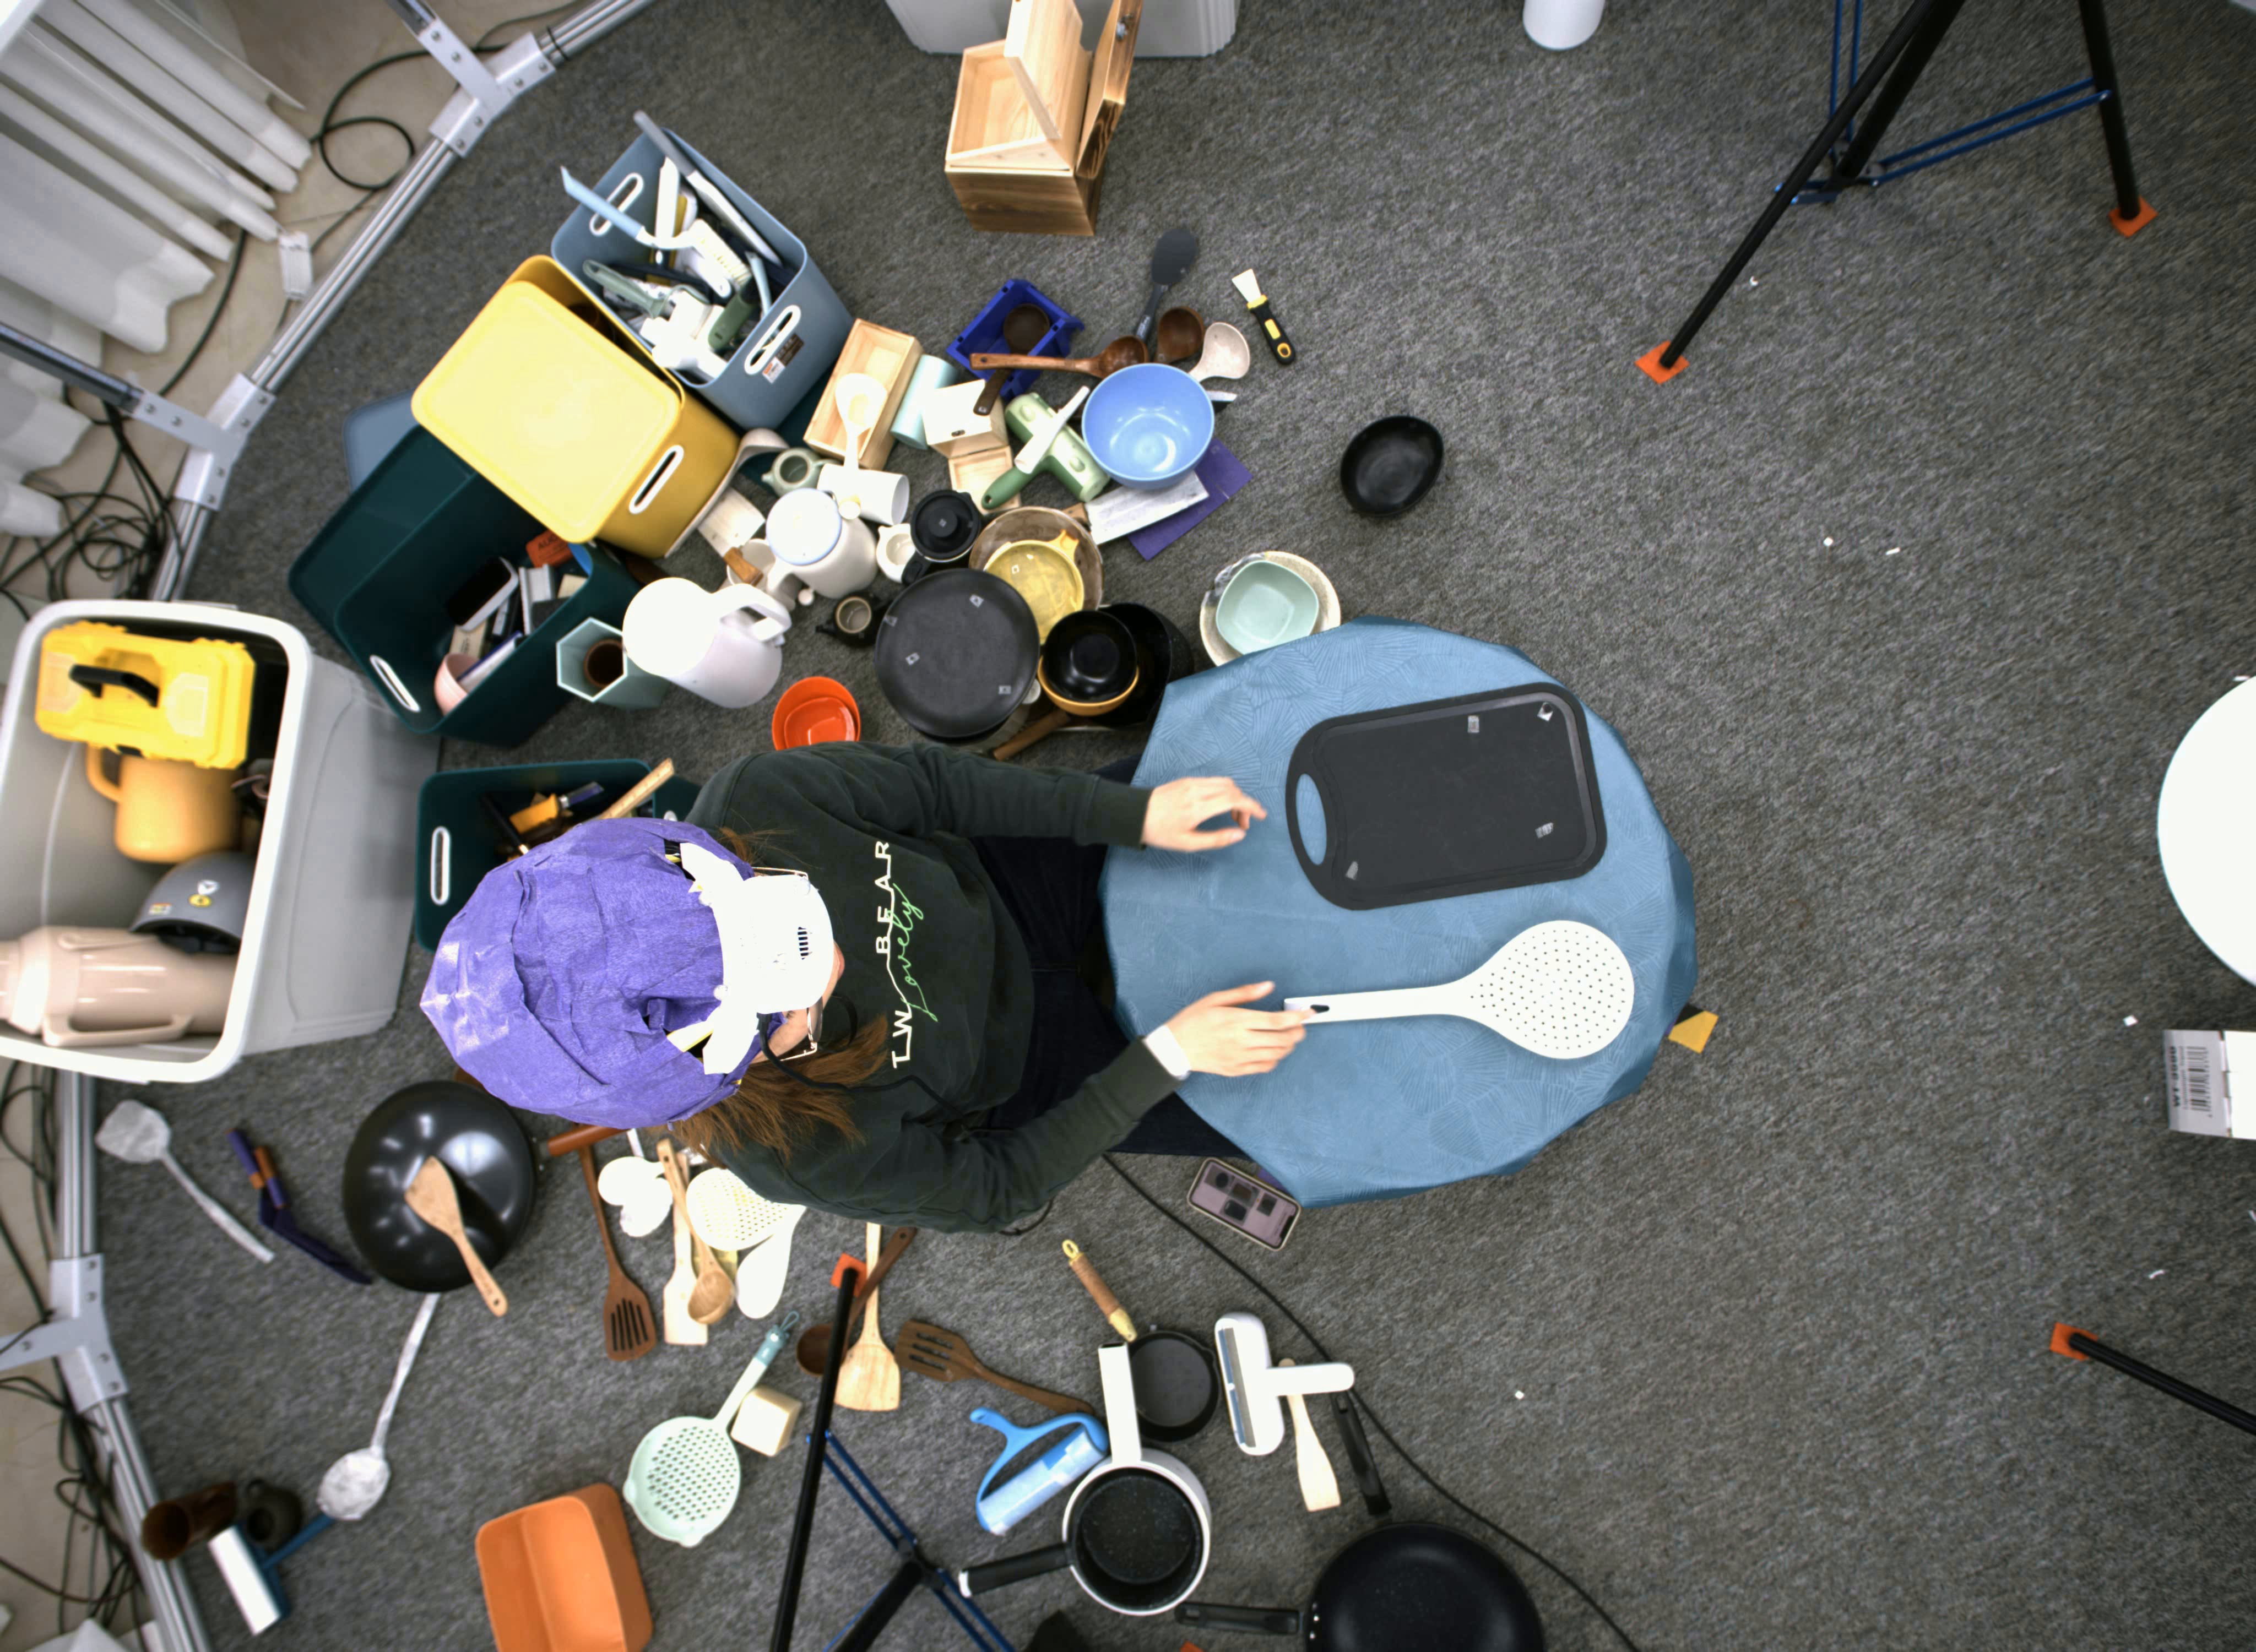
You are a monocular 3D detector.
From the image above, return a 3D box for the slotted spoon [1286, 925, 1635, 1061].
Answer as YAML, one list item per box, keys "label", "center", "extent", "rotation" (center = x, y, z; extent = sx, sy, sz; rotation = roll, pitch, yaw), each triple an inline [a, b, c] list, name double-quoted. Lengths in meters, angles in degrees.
- label: "slotted spoon"
  center: [0.337, 0.178, 1.422]
  extent: [0.351, 0.046, 0.135]
  rotation: [-6, 84, 11]

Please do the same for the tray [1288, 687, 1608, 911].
- label: "tray"
  center: [0.333, -0.029, 1.457]
  extent: [0.327, 0.010, 0.210]
  rotation: [-9, 84, 10]
